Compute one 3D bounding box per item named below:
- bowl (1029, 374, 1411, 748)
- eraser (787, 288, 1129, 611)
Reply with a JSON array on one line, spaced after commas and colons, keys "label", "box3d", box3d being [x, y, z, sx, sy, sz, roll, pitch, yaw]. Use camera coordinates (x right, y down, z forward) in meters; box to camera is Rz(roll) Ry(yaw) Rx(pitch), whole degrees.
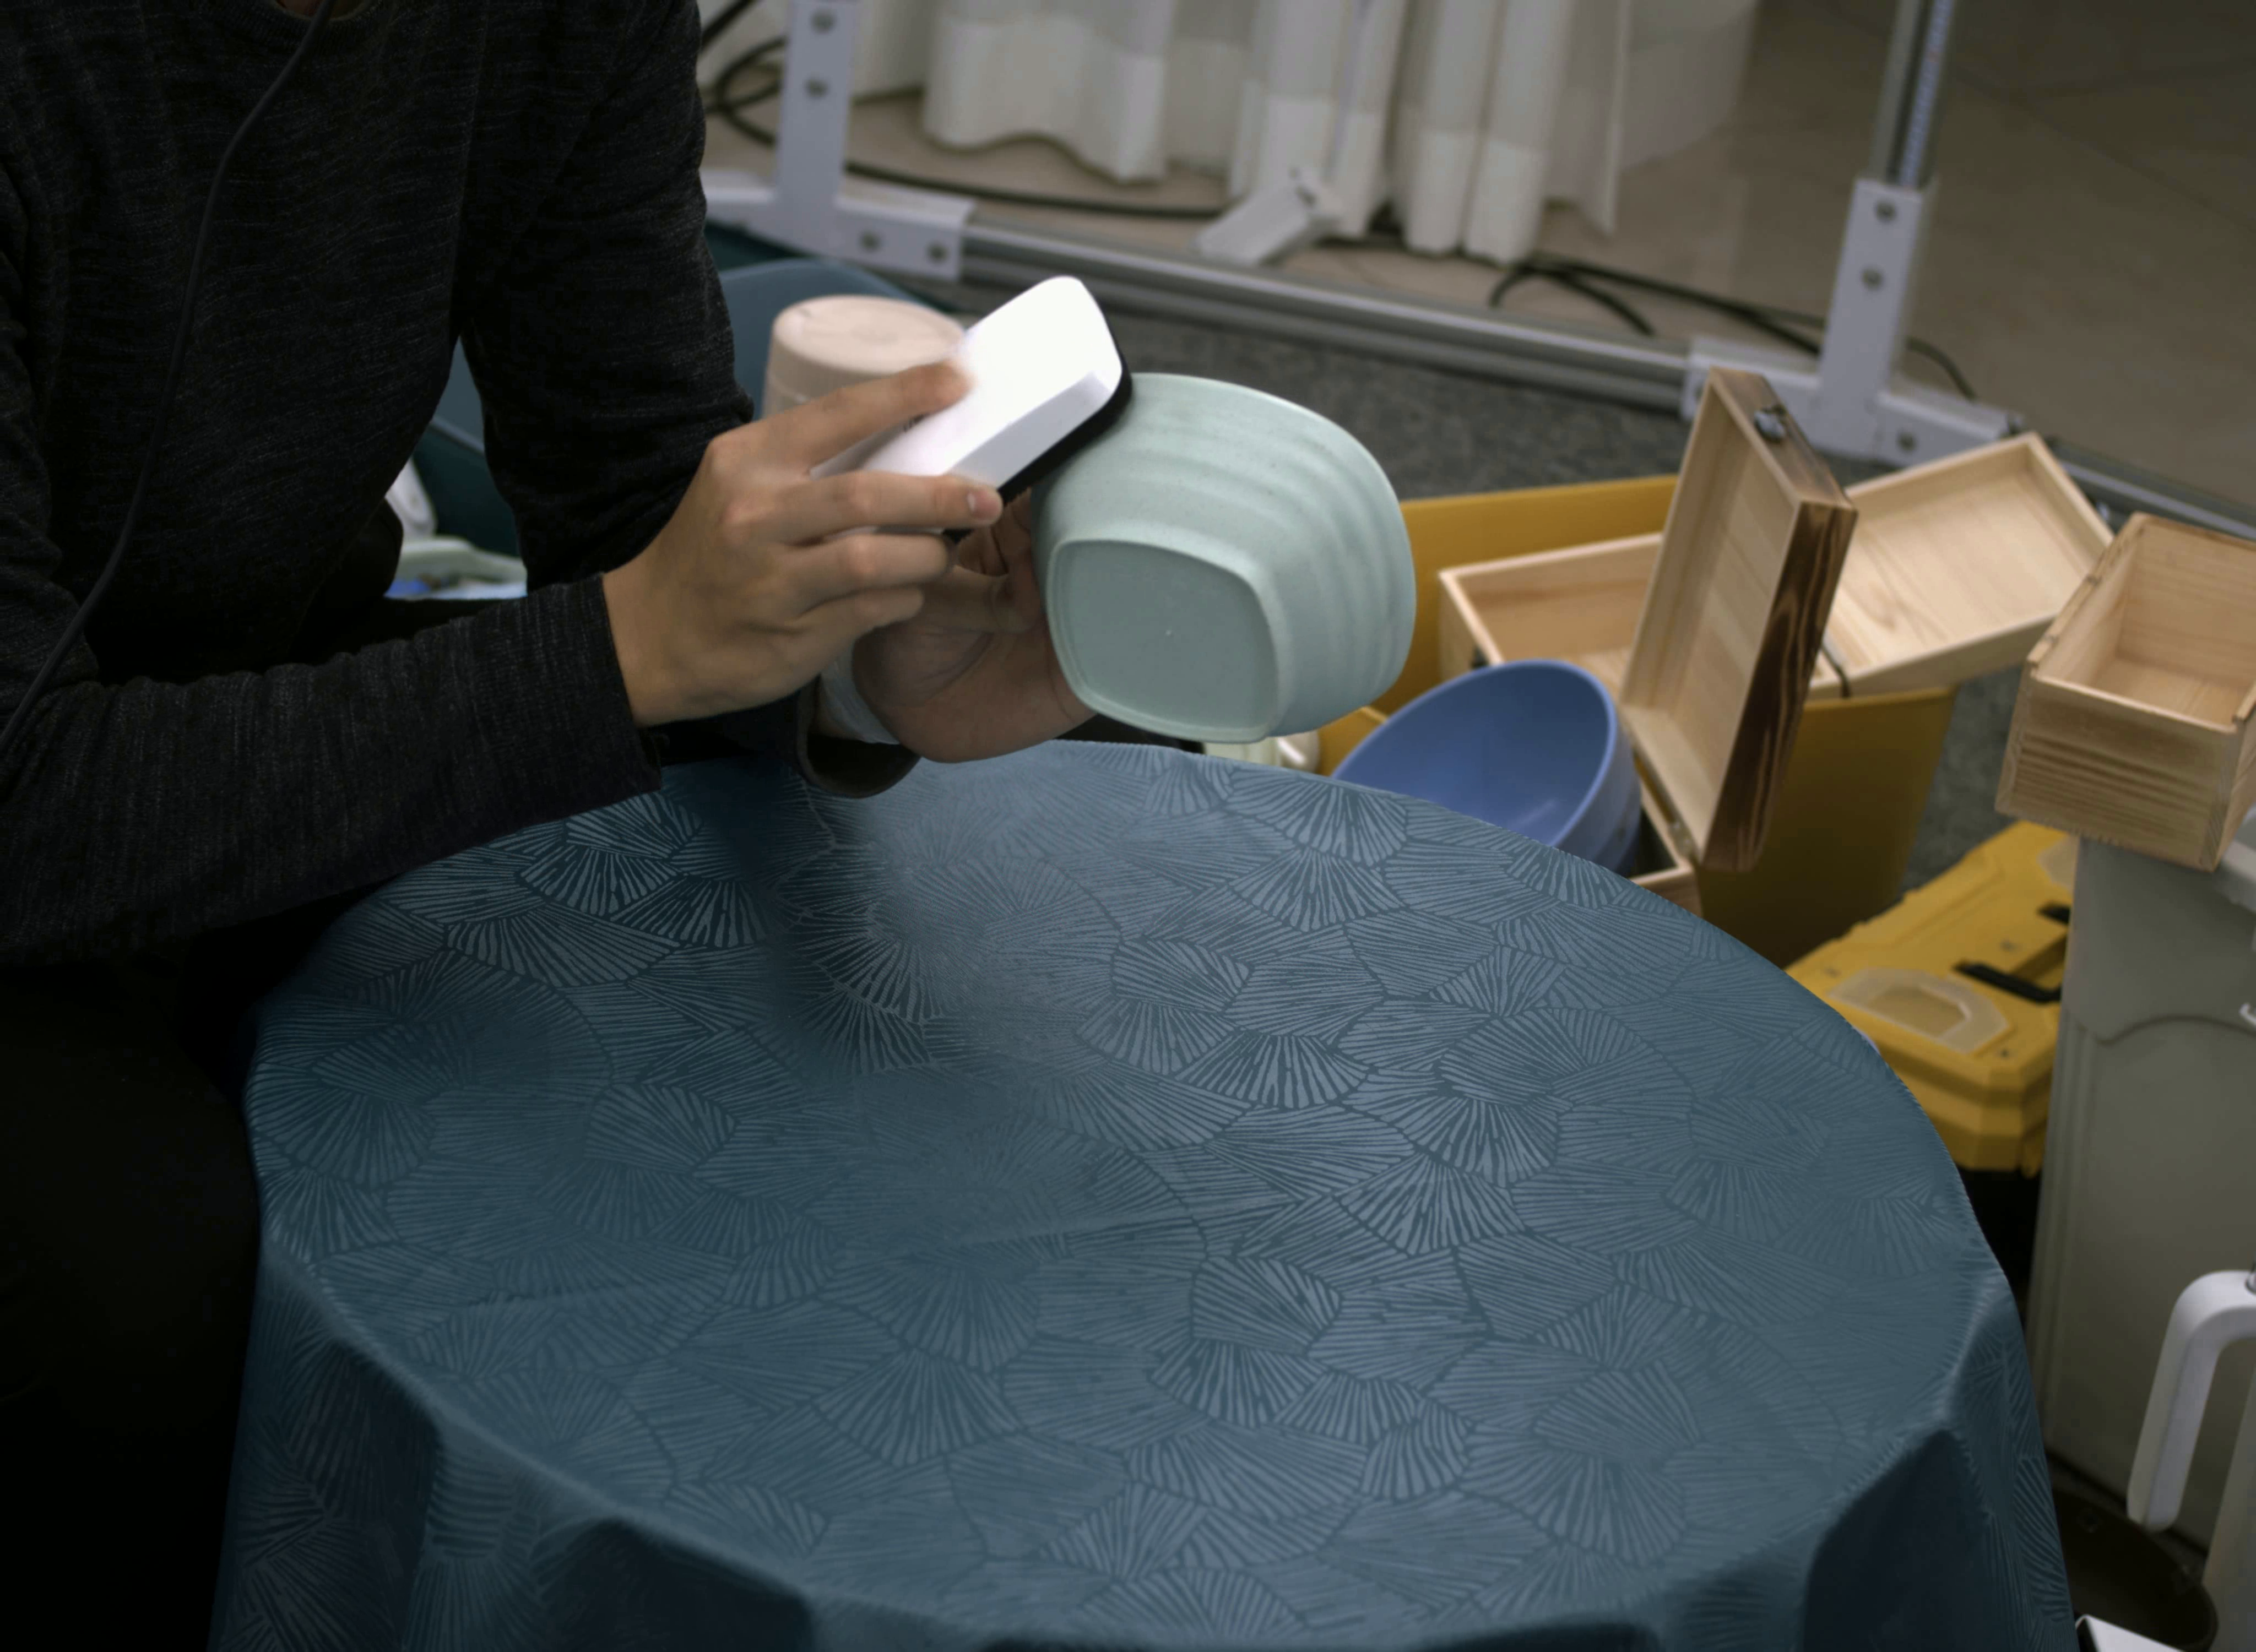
[{"label": "bowl", "box3d": [0.021, -0.078, 1.794, 0.152, 0.150, 0.059, 17, 46, 19]}, {"label": "eraser", "box3d": [-0.060, -0.128, 1.792, 0.034, 0.131, 0.064, 43, 20, -34]}]
